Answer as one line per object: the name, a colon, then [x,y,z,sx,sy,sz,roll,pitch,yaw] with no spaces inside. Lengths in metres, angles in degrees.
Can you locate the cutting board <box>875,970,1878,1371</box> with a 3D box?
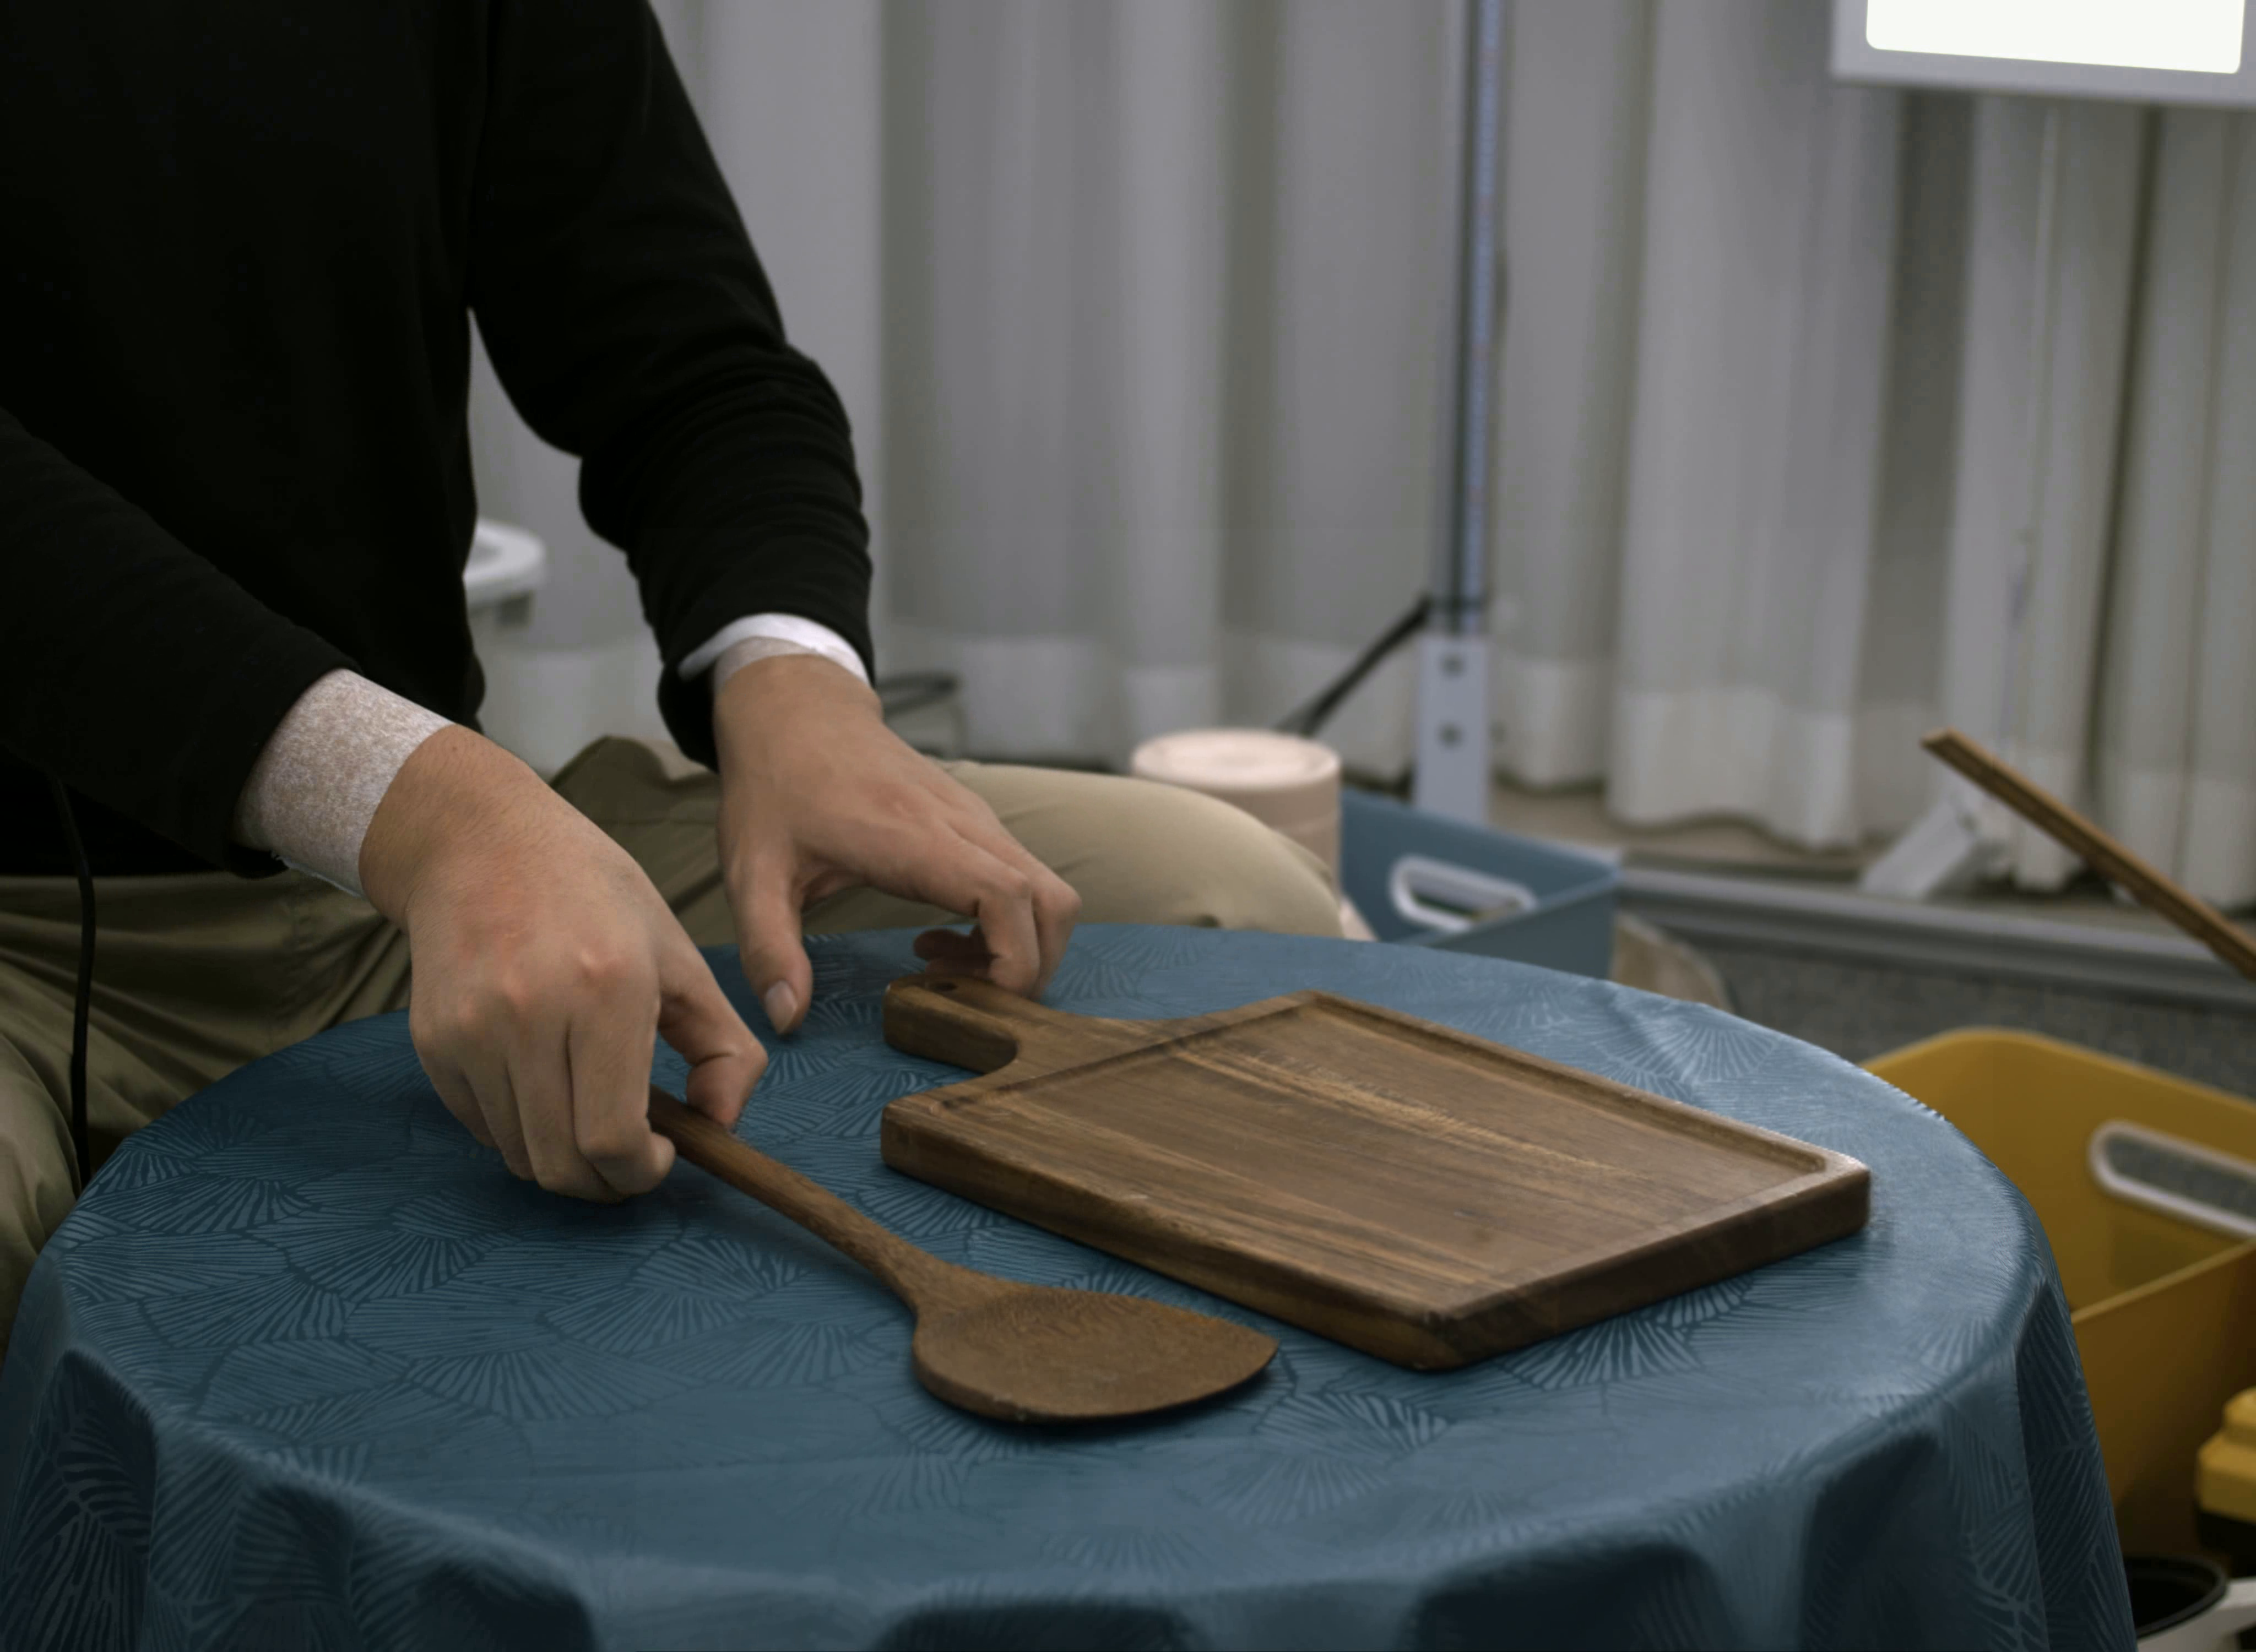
cutting board: [0.042,0.093,1.652,0.202,0.023,0.347,-13,21,-41]

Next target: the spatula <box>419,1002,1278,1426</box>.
spatula: [-0.105,0.109,1.573,0.096,0.016,0.380,-11,23,-38]
